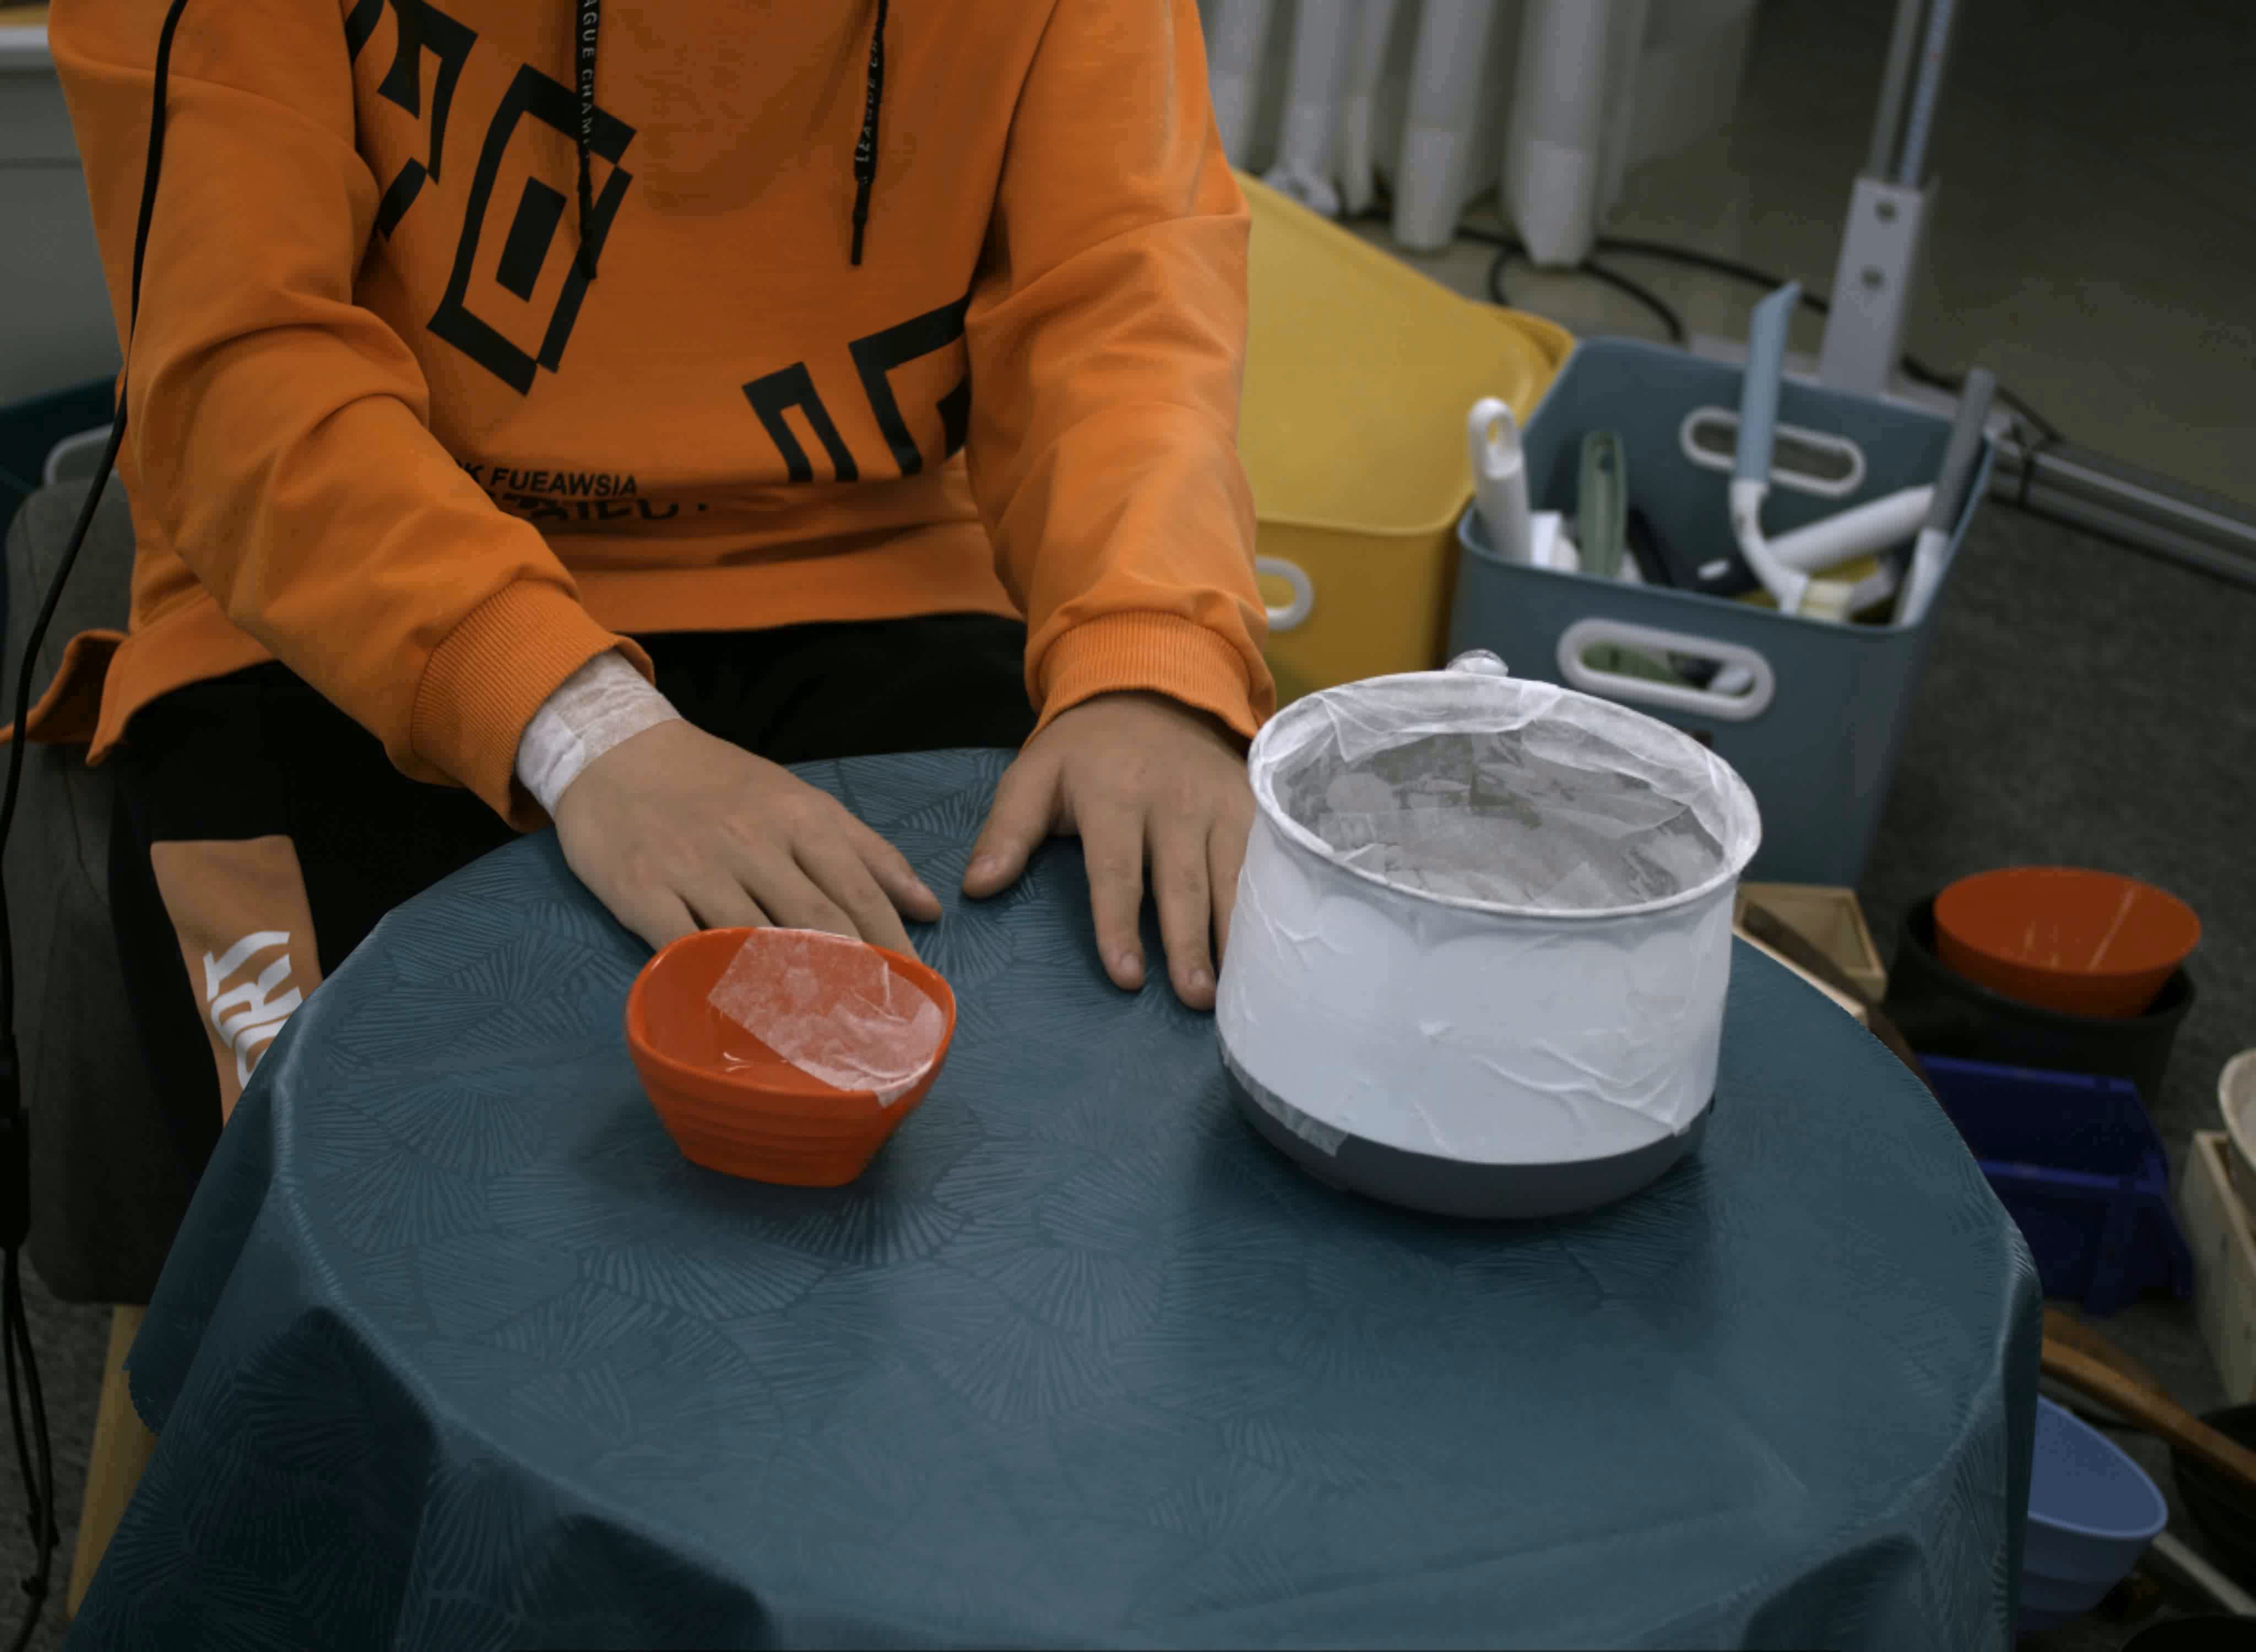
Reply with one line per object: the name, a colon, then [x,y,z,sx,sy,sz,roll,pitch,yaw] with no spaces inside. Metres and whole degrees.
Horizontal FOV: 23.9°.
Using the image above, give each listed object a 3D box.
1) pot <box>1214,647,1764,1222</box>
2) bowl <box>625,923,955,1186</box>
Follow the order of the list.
pot: [0.120,0.030,1.861,0.178,0.136,0.235,5,27,-5]
bowl: [-0.115,0.082,1.802,0.118,0.051,0.119,4,28,-3]
